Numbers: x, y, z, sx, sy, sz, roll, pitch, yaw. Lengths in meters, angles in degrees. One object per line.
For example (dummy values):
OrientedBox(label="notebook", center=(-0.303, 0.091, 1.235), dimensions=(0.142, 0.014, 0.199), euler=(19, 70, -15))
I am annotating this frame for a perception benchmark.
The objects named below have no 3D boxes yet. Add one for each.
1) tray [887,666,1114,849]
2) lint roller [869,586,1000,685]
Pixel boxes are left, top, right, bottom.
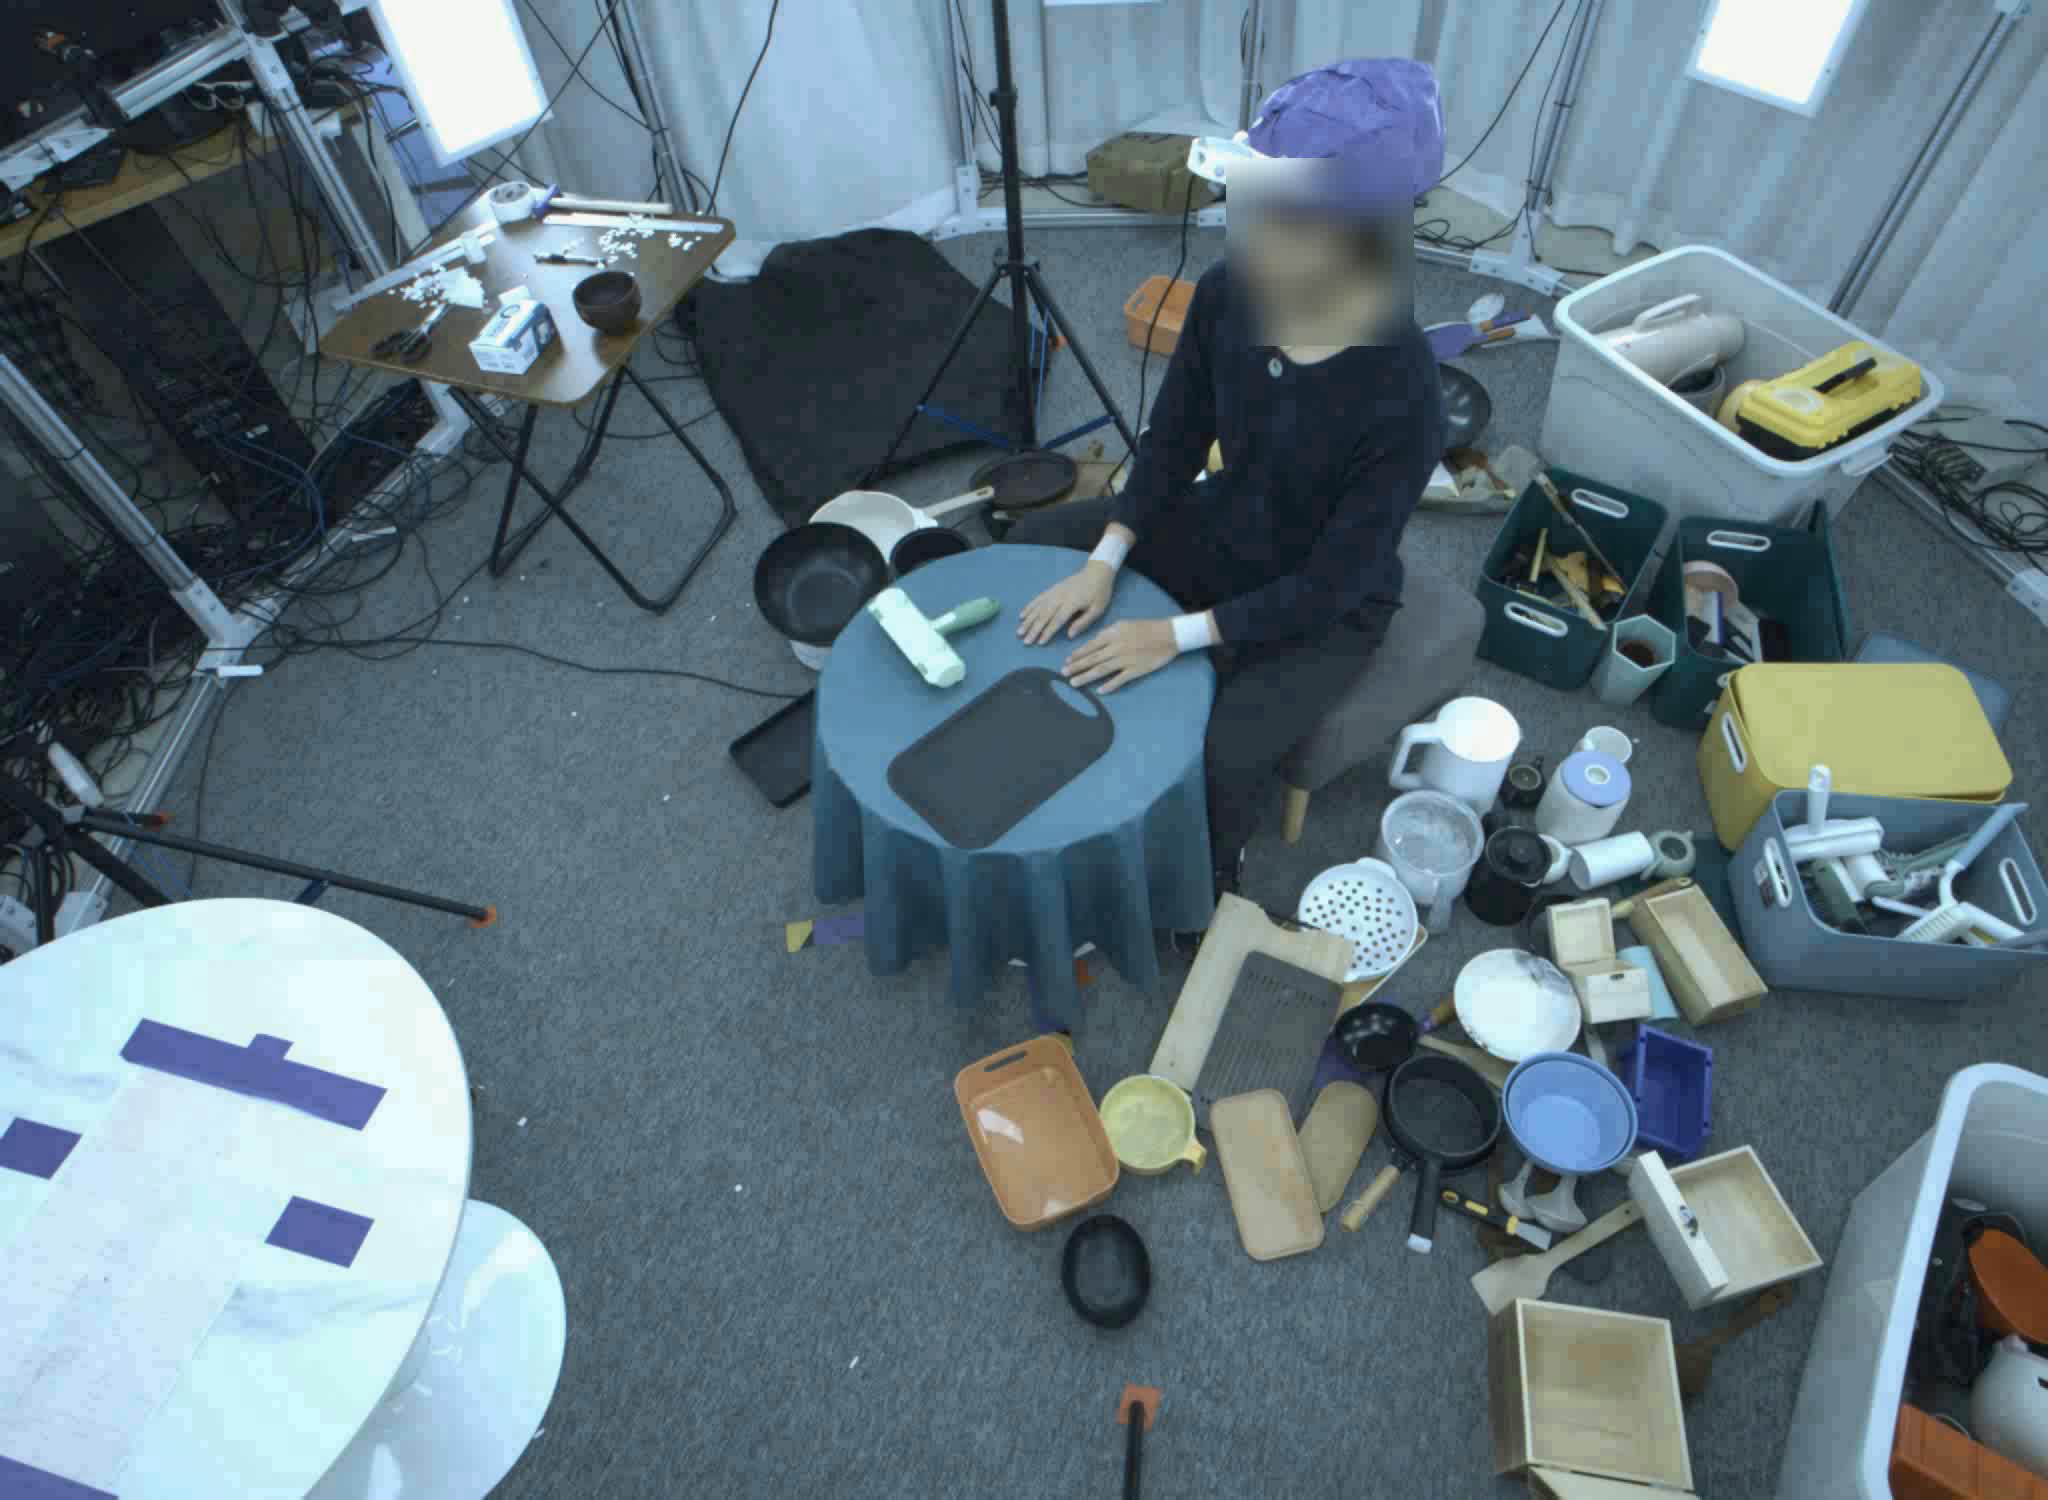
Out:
OrientedBox(label="tray", center=(-0.027, -0.002, 1.786), dimensions=(0.328, 0.010, 0.207), euler=(-37, 62, -22))
OrientedBox(label="lint roller", center=(-0.118, -0.211, 1.887), dimensions=(0.184, 0.083, 0.195), euler=(-34, 61, -12))
